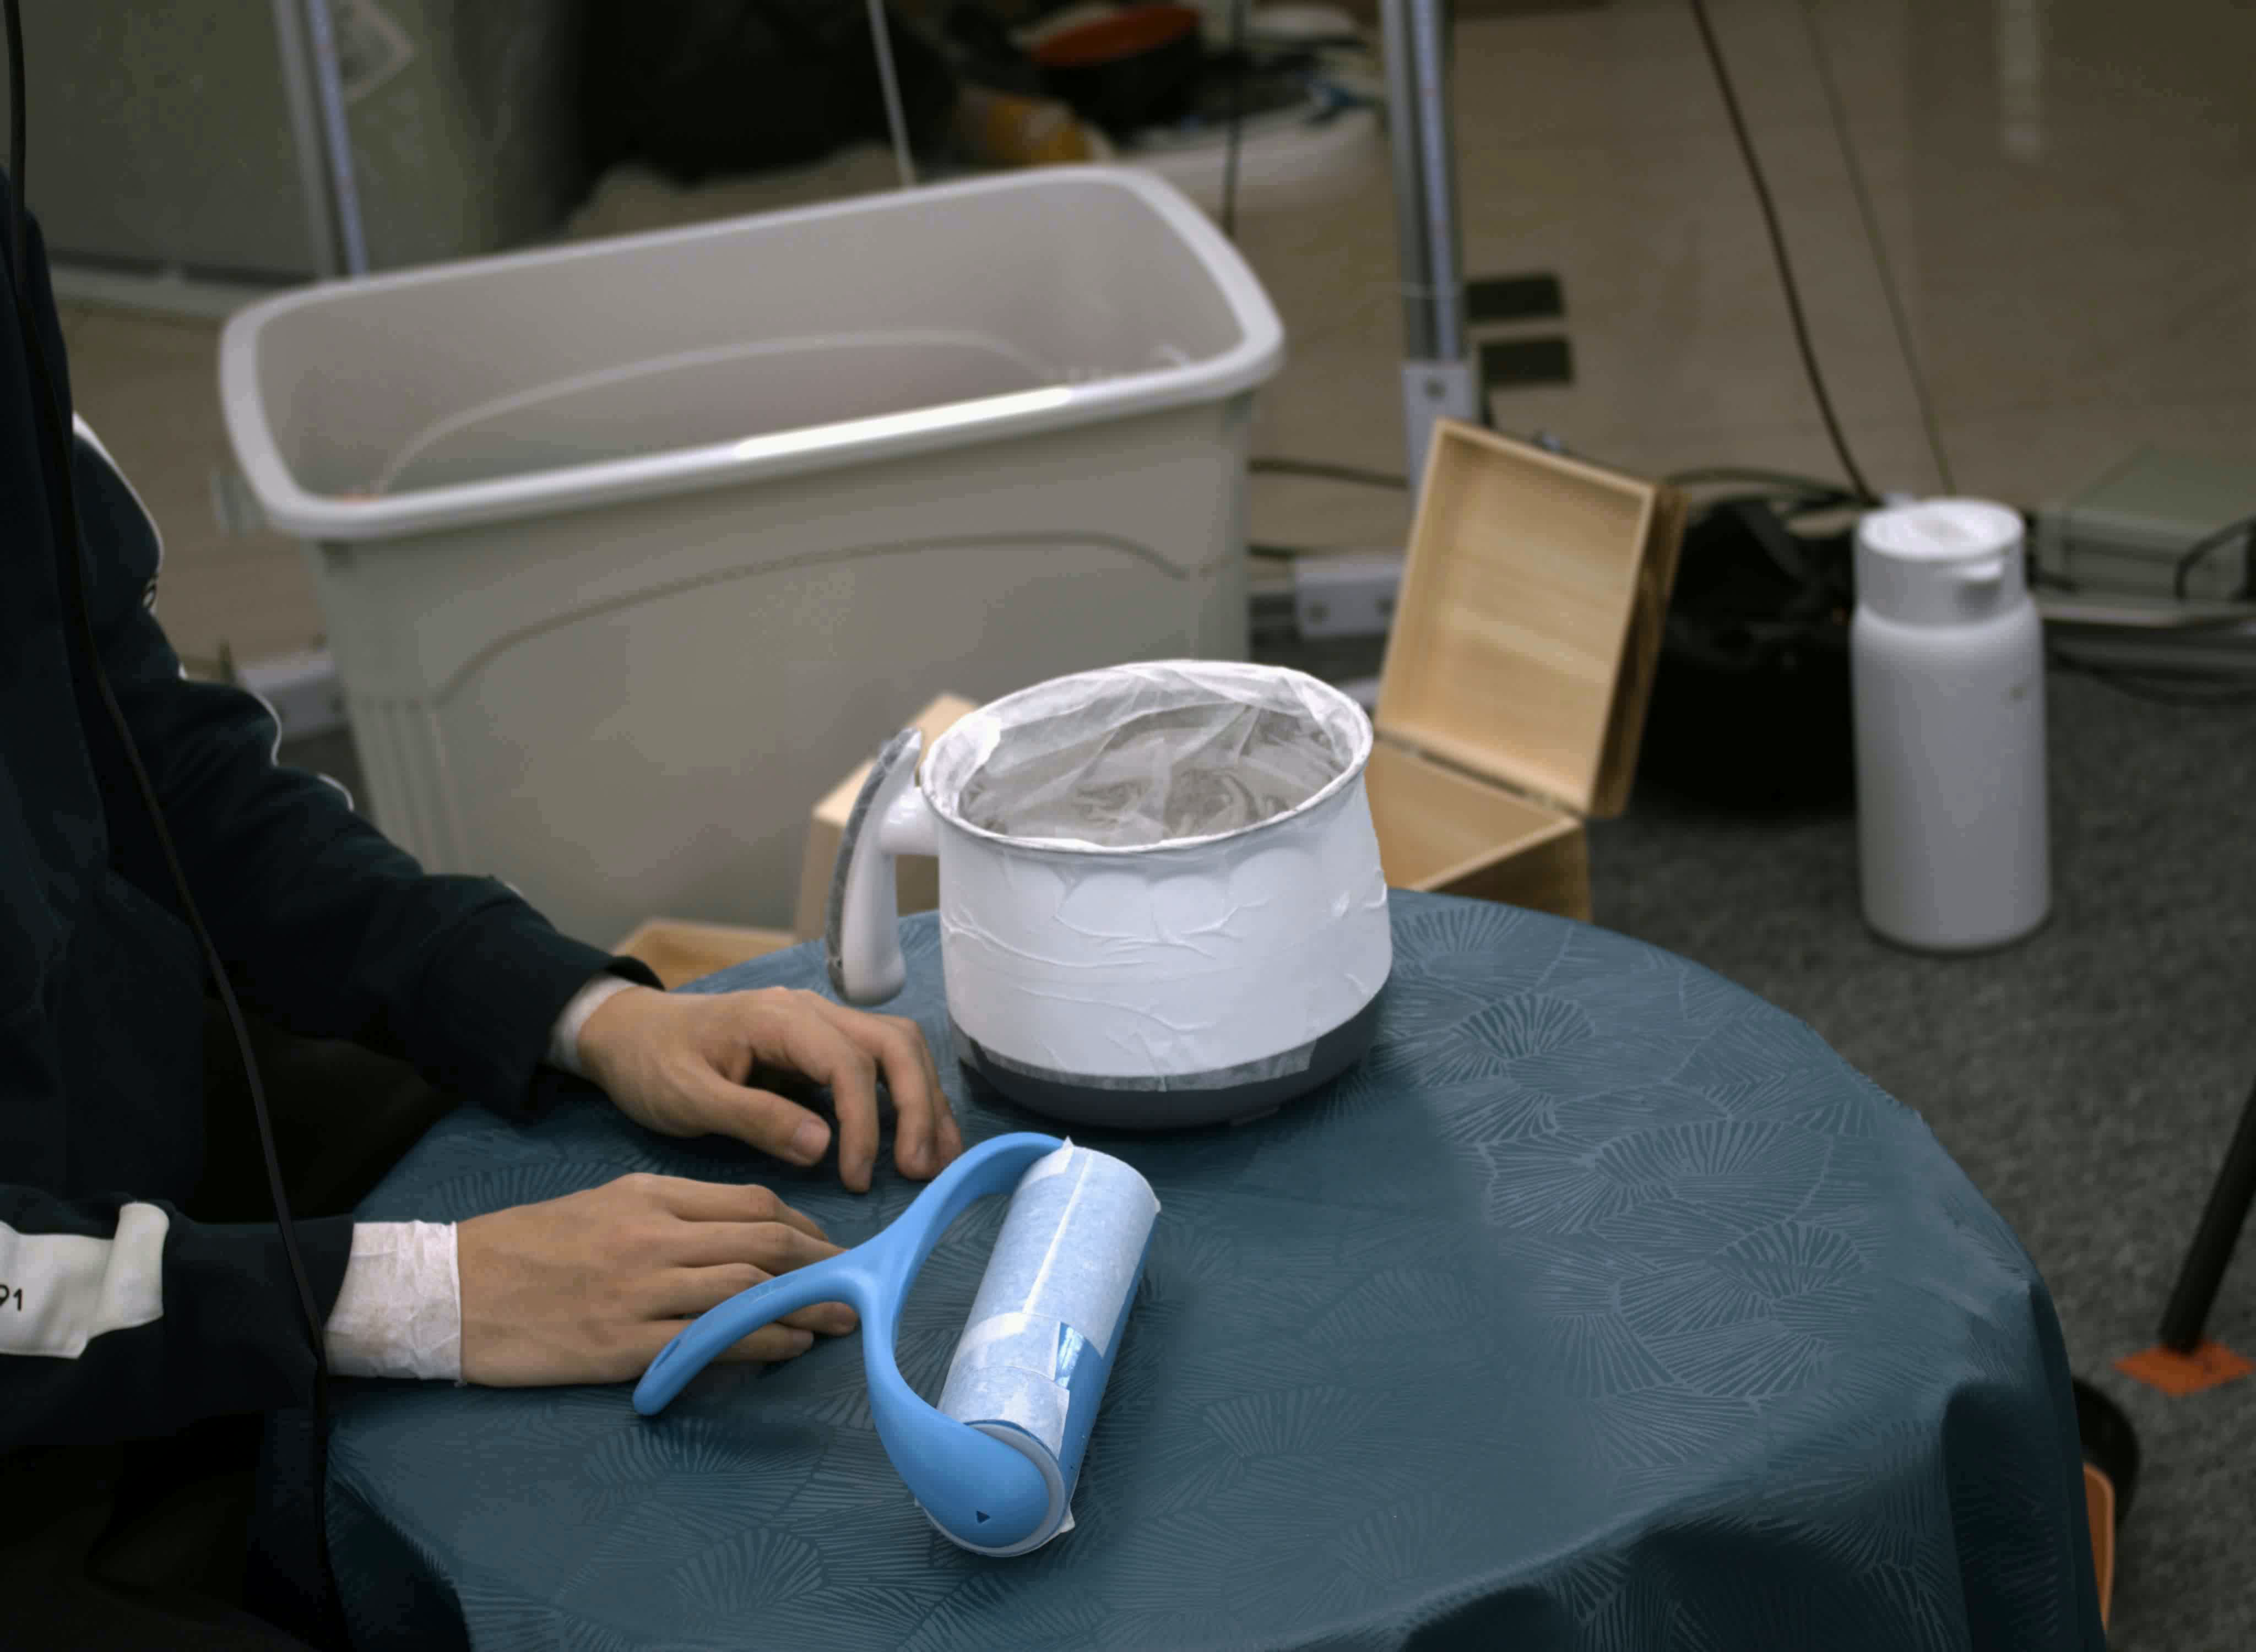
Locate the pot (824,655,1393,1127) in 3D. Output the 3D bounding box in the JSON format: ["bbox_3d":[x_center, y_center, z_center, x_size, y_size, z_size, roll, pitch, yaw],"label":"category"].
[{"bbox_3d":[-0.012,0.025,2.221,0.233,0.139,0.176,4,27,19],"label":"pot"}]

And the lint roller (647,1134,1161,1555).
[{"bbox_3d":[-0.086,0.184,2.003,0.180,0.069,0.225,-2,27,7],"label":"lint roller"}]
